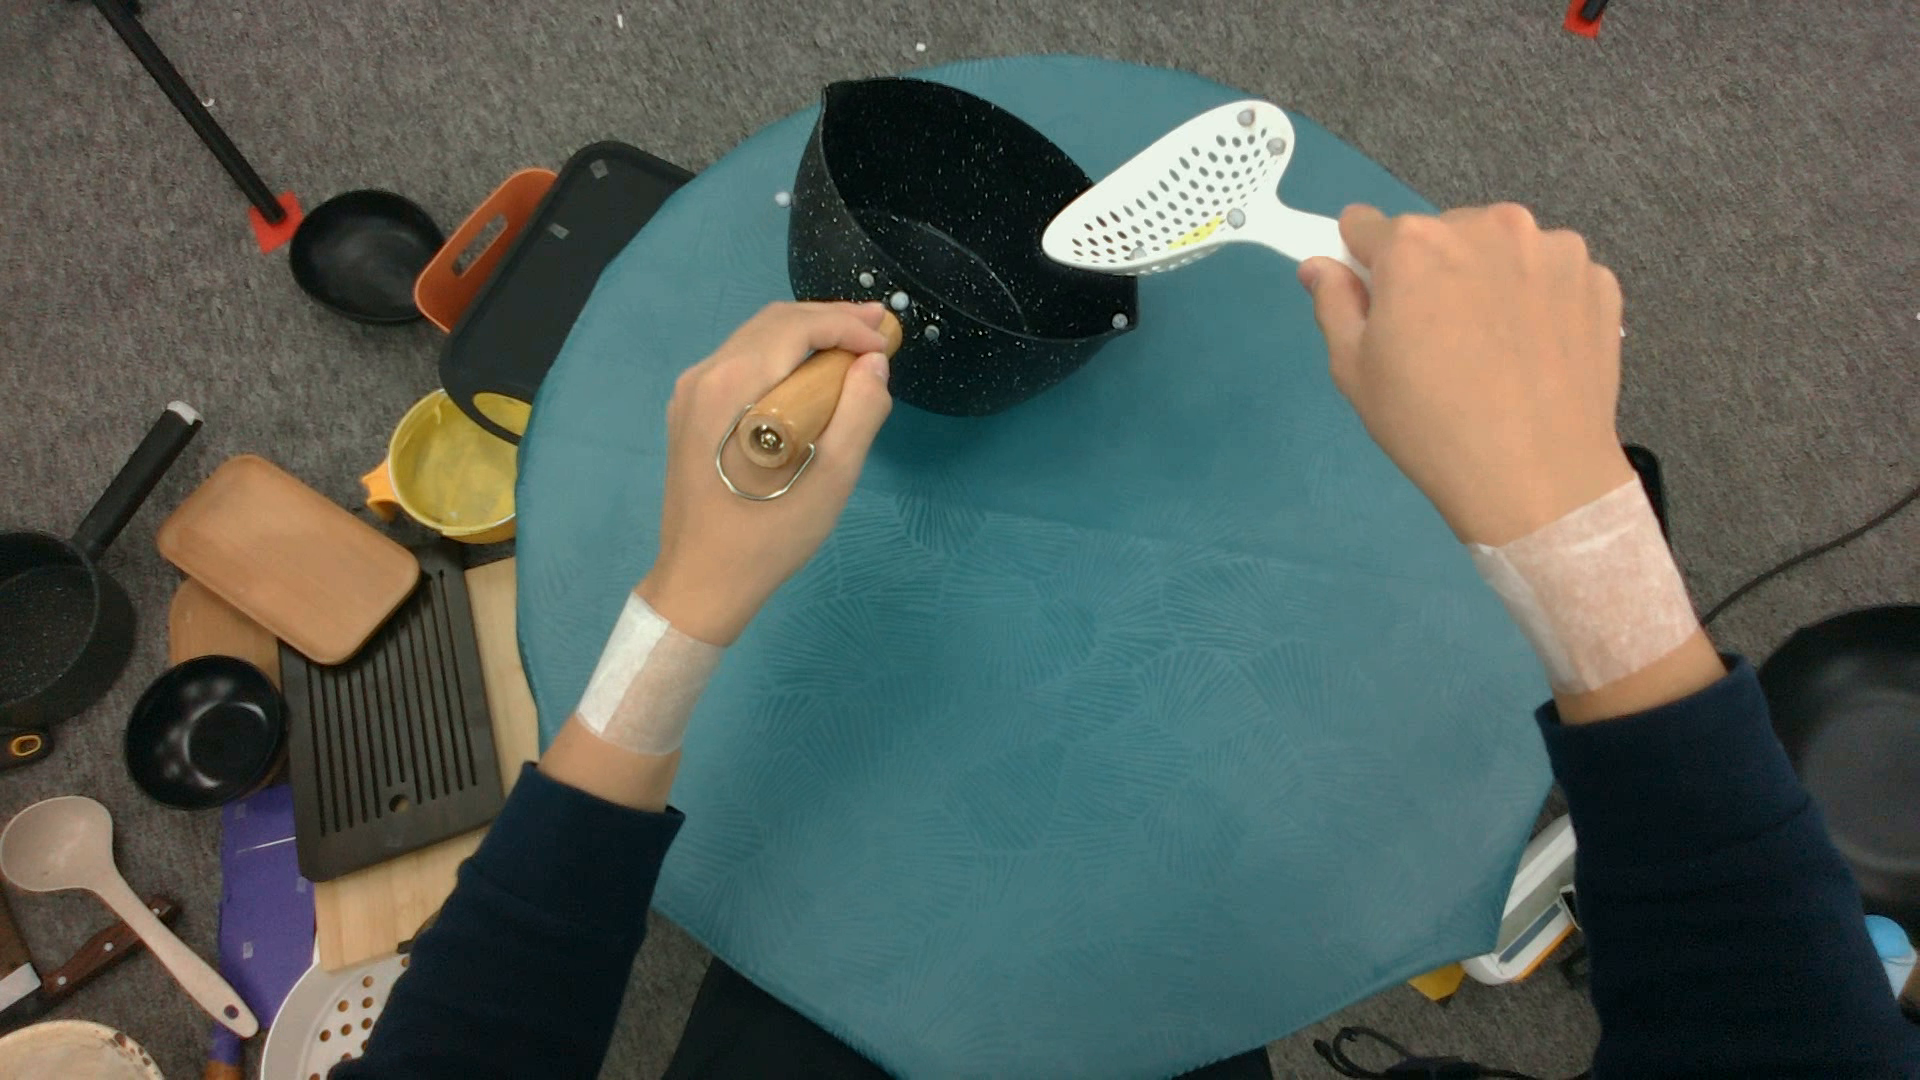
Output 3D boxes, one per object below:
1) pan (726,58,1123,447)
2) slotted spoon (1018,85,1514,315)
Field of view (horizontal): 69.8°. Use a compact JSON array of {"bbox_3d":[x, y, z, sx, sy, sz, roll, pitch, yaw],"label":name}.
[{"bbox_3d":[-0.037,-0.115,0.665,0.207,0.107,0.344,36,42,-6],"label":"pan"},{"bbox_3d":[0.124,-0.144,0.612,0.137,0.348,0.050,-35,112,0],"label":"slotted spoon"}]
